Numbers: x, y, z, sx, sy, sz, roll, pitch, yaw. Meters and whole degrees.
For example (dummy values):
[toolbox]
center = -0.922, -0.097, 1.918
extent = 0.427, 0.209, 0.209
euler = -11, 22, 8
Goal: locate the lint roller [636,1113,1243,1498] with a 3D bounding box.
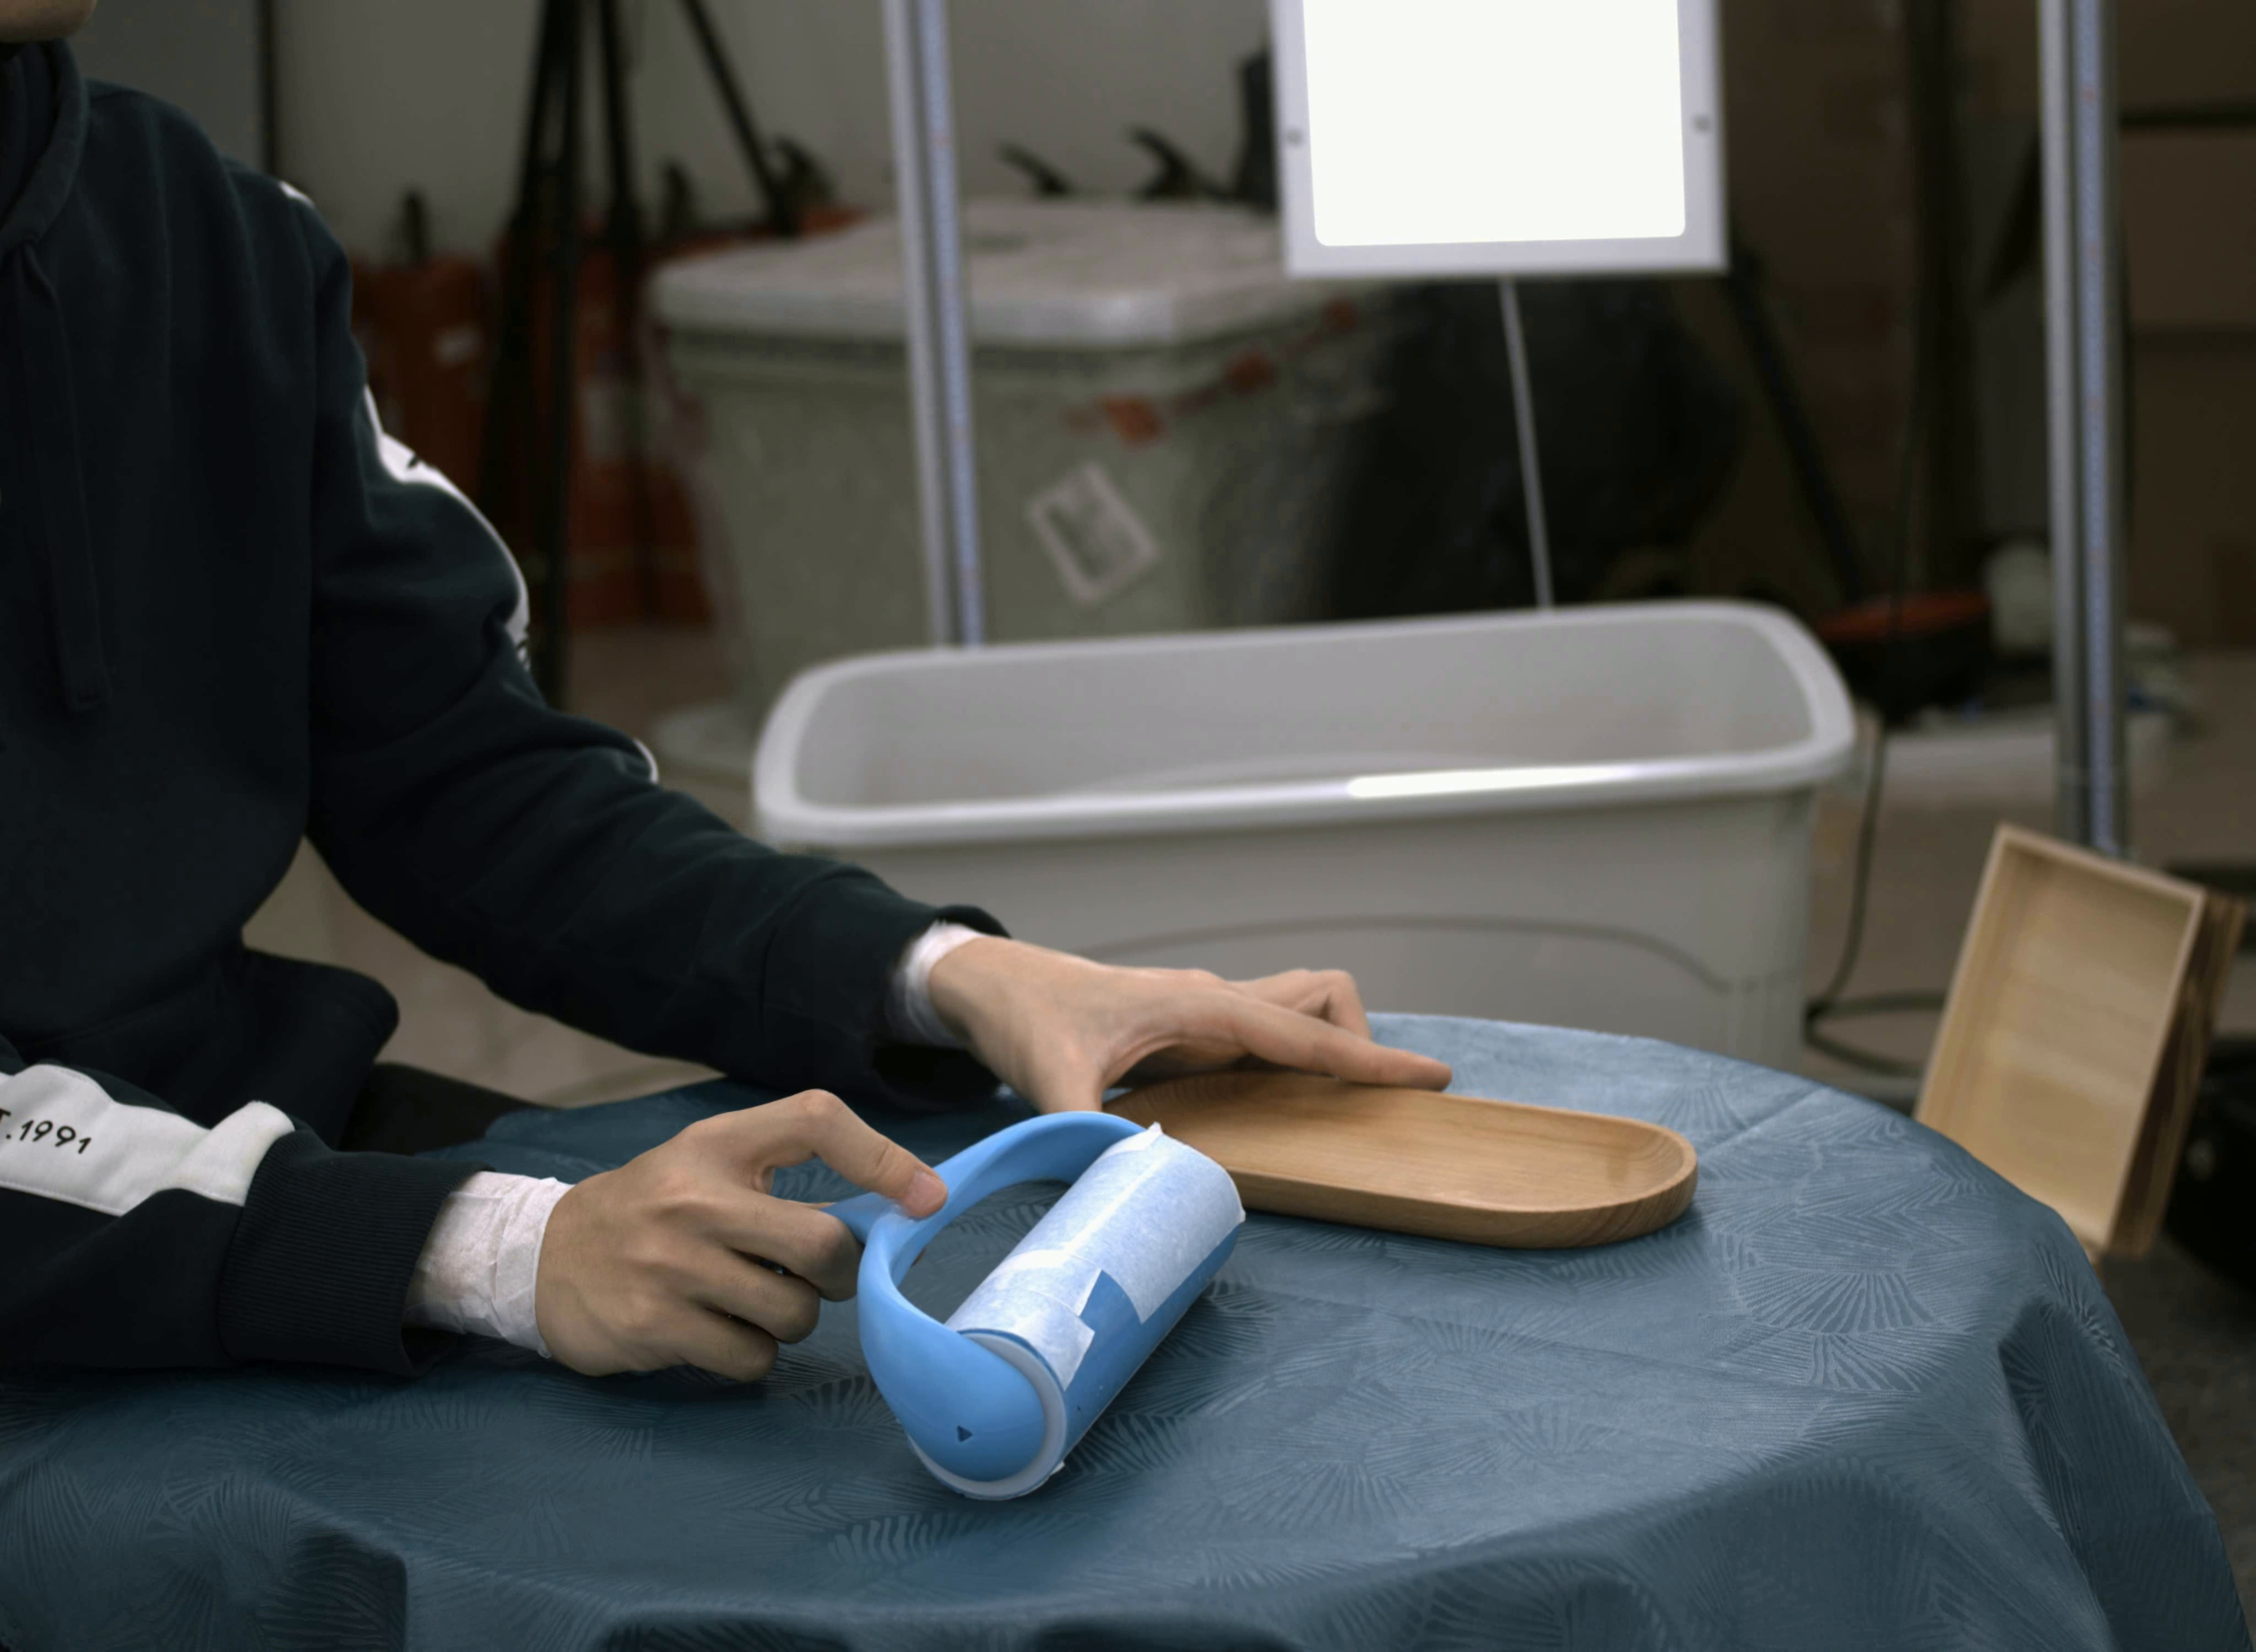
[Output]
[lint roller]
center = -0.071, 0.147, 1.716
extent = 0.182, 0.068, 0.226
euler = -1, 16, 15

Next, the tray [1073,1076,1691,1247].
[tray]
center = 0.085, 0.114, 1.878
extent = 0.236, 0.020, 0.099
euler = 4, 16, 35
